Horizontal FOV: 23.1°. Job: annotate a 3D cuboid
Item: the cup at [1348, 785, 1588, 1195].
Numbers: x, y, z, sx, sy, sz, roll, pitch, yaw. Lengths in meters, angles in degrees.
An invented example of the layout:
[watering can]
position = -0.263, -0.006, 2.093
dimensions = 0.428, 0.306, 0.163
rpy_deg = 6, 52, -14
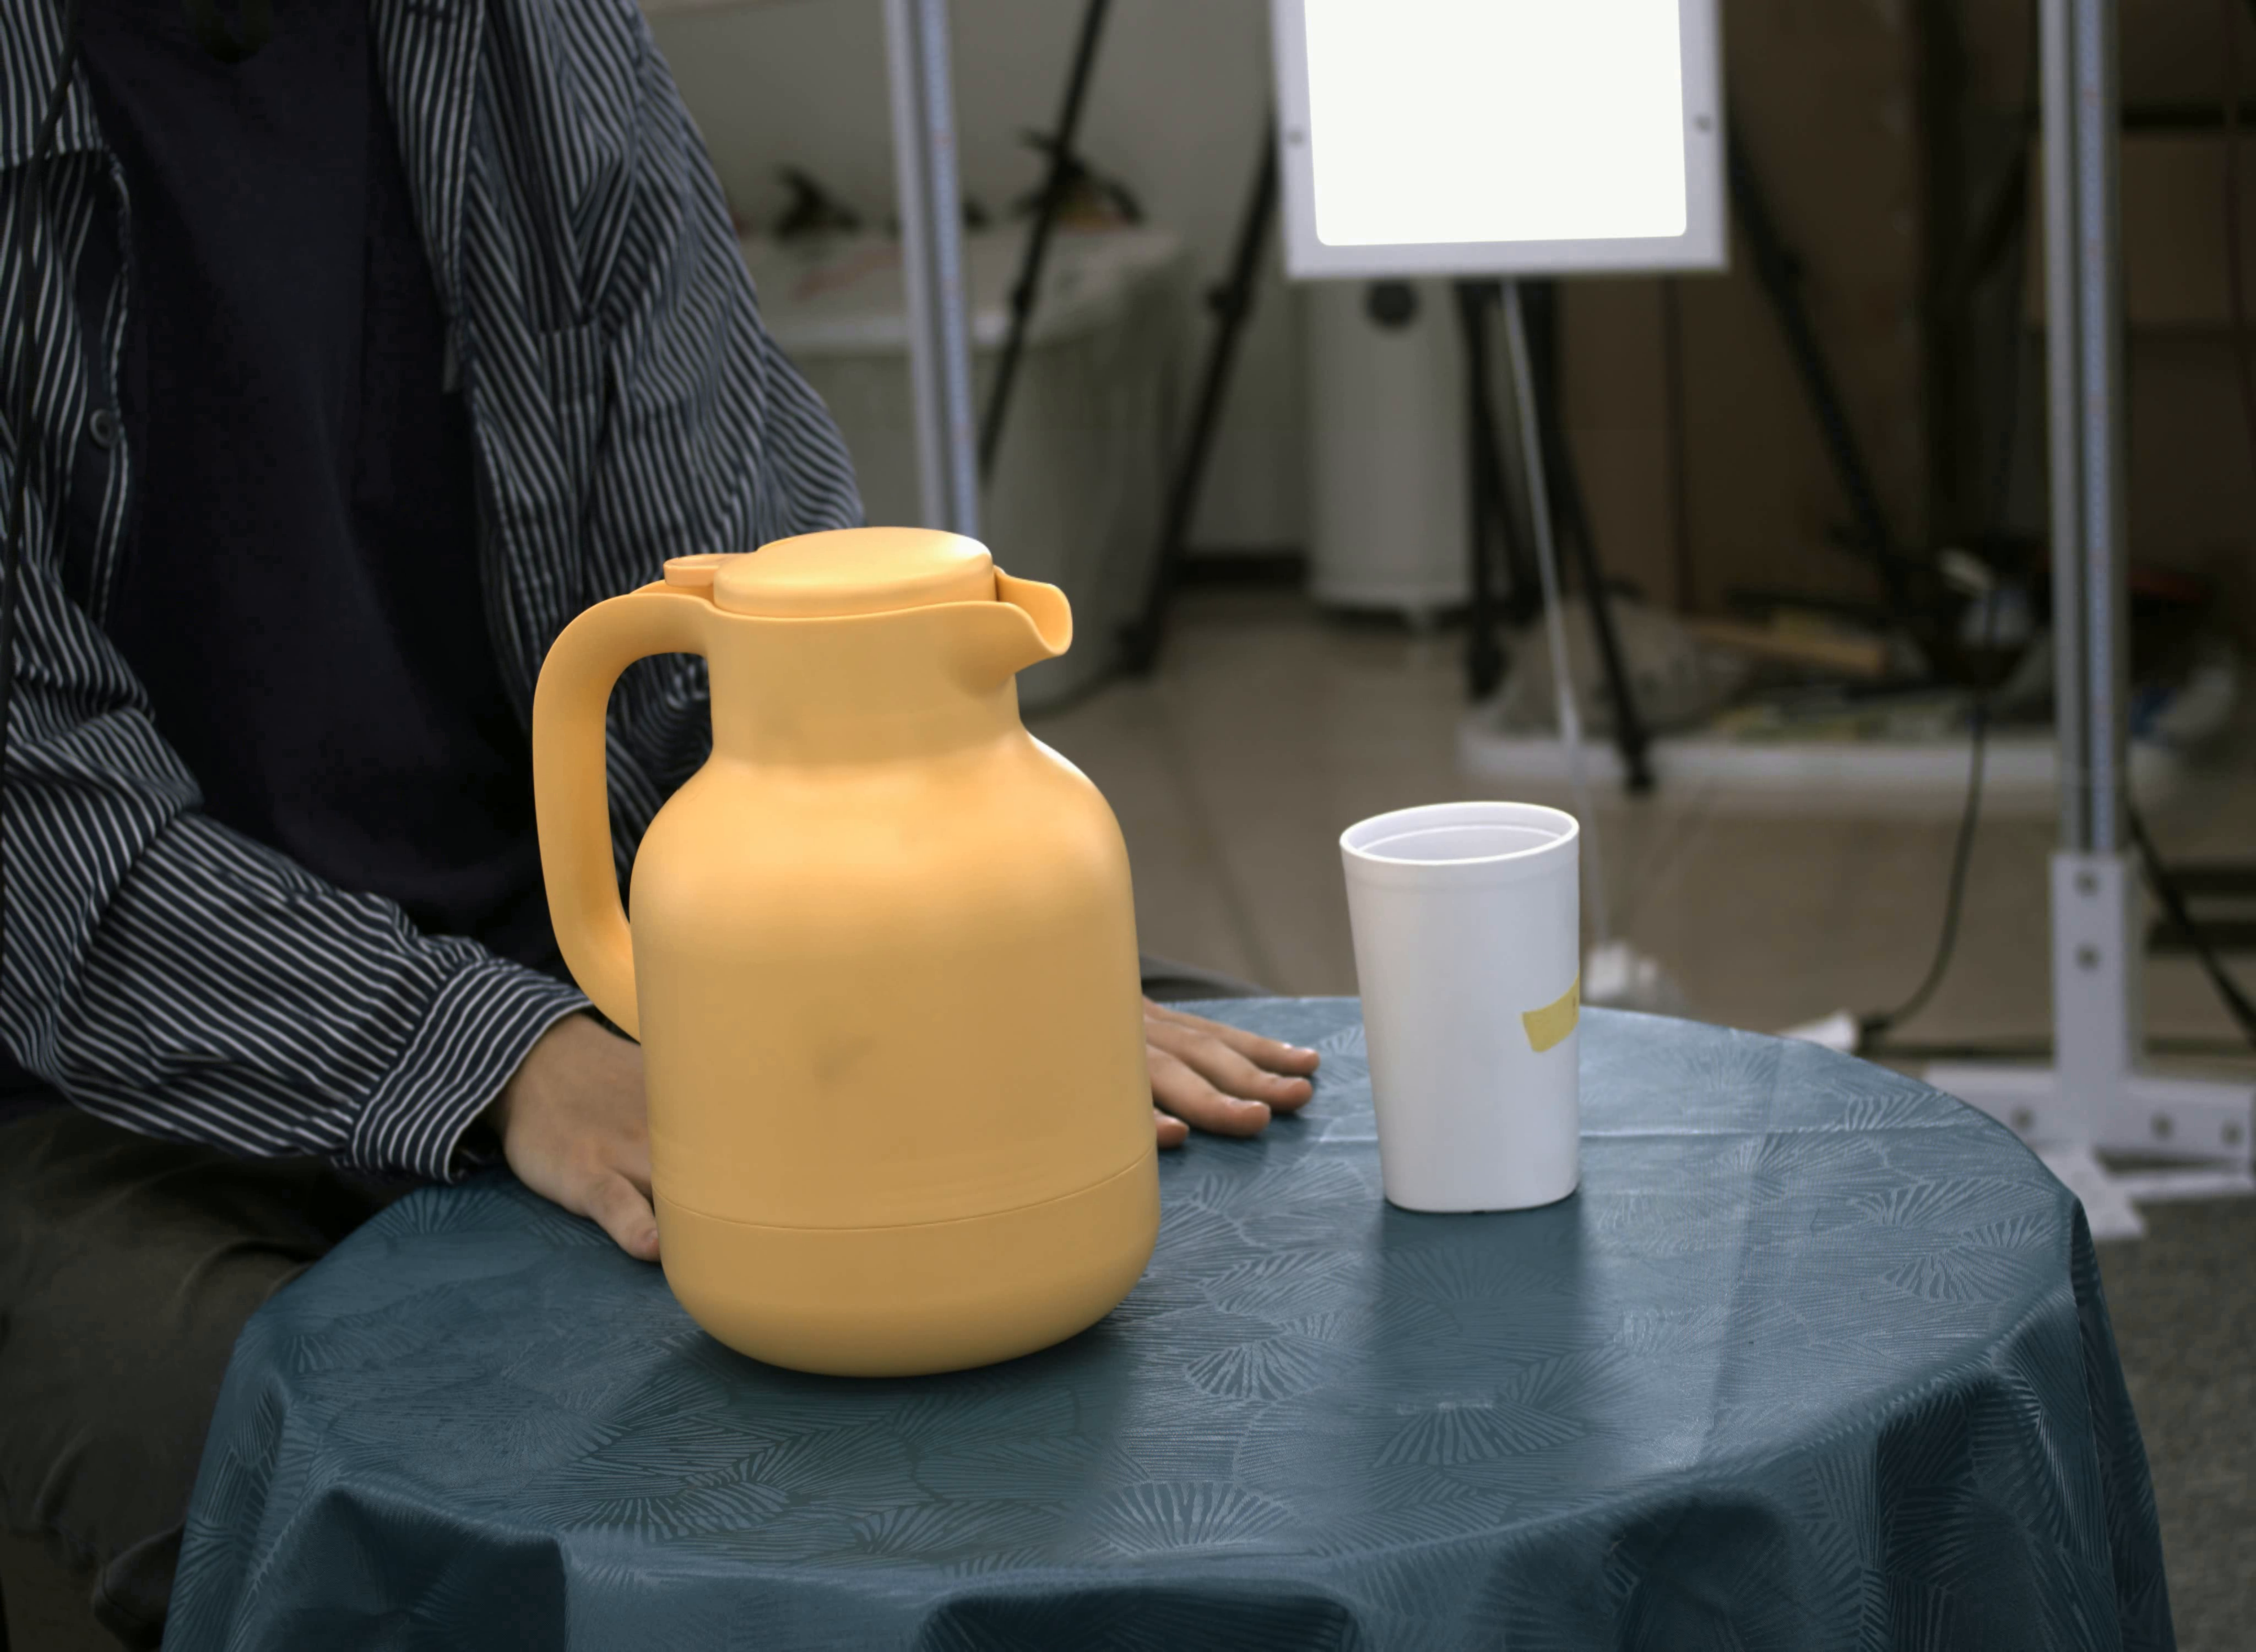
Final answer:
[cup]
position = 0.120, 0.056, 1.864
dimensions = 0.081, 0.126, 0.081
rpy_deg = -5, 14, 0

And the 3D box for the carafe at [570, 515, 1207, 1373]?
[carafe]
position = -0.079, 0.032, 1.761
dimensions = 0.206, 0.261, 0.160
rpy_deg = 2, 14, 27
